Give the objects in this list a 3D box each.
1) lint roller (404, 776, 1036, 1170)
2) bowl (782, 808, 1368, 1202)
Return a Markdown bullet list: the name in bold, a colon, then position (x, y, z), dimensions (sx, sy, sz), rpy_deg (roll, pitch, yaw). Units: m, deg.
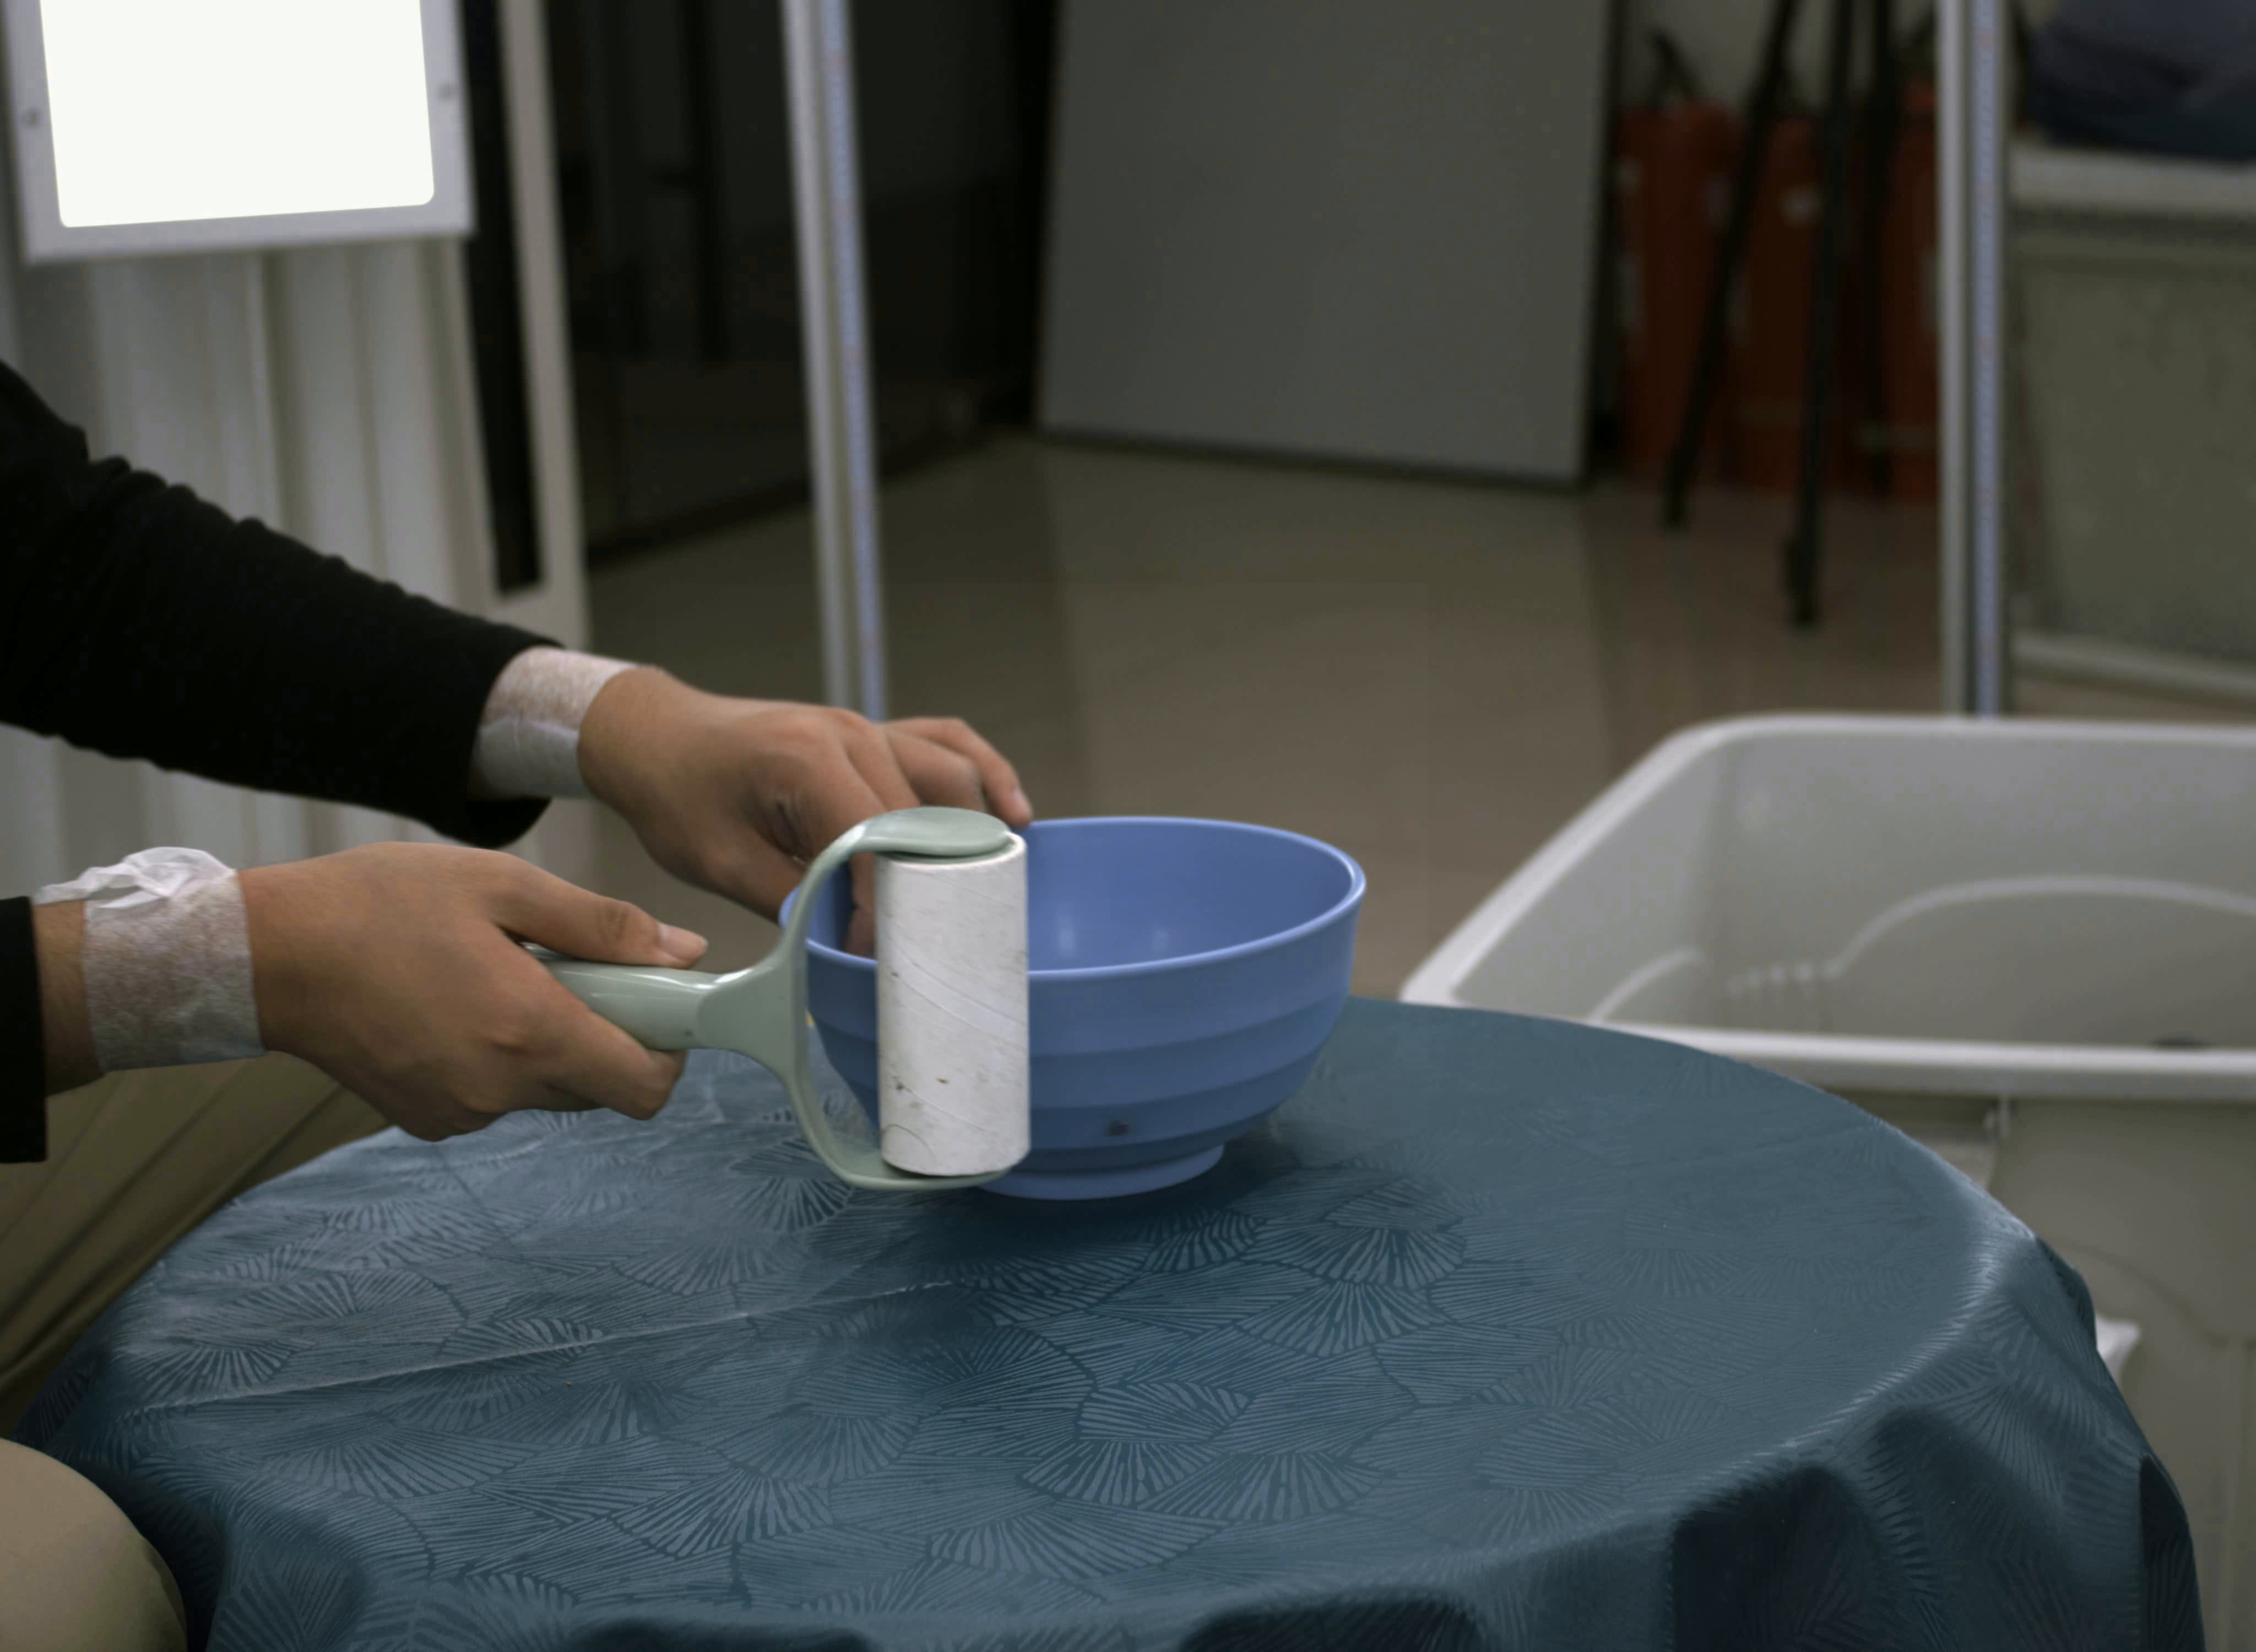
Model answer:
- **lint roller**: position (-0.126, 0.045, 1.651), dimensions (0.195, 0.118, 0.048), rpy_deg (0, 16, 3)
- **bowl**: position (-0.015, 0.065, 1.795), dimensions (0.194, 0.096, 0.197), rpy_deg (-4, 15, 0)
